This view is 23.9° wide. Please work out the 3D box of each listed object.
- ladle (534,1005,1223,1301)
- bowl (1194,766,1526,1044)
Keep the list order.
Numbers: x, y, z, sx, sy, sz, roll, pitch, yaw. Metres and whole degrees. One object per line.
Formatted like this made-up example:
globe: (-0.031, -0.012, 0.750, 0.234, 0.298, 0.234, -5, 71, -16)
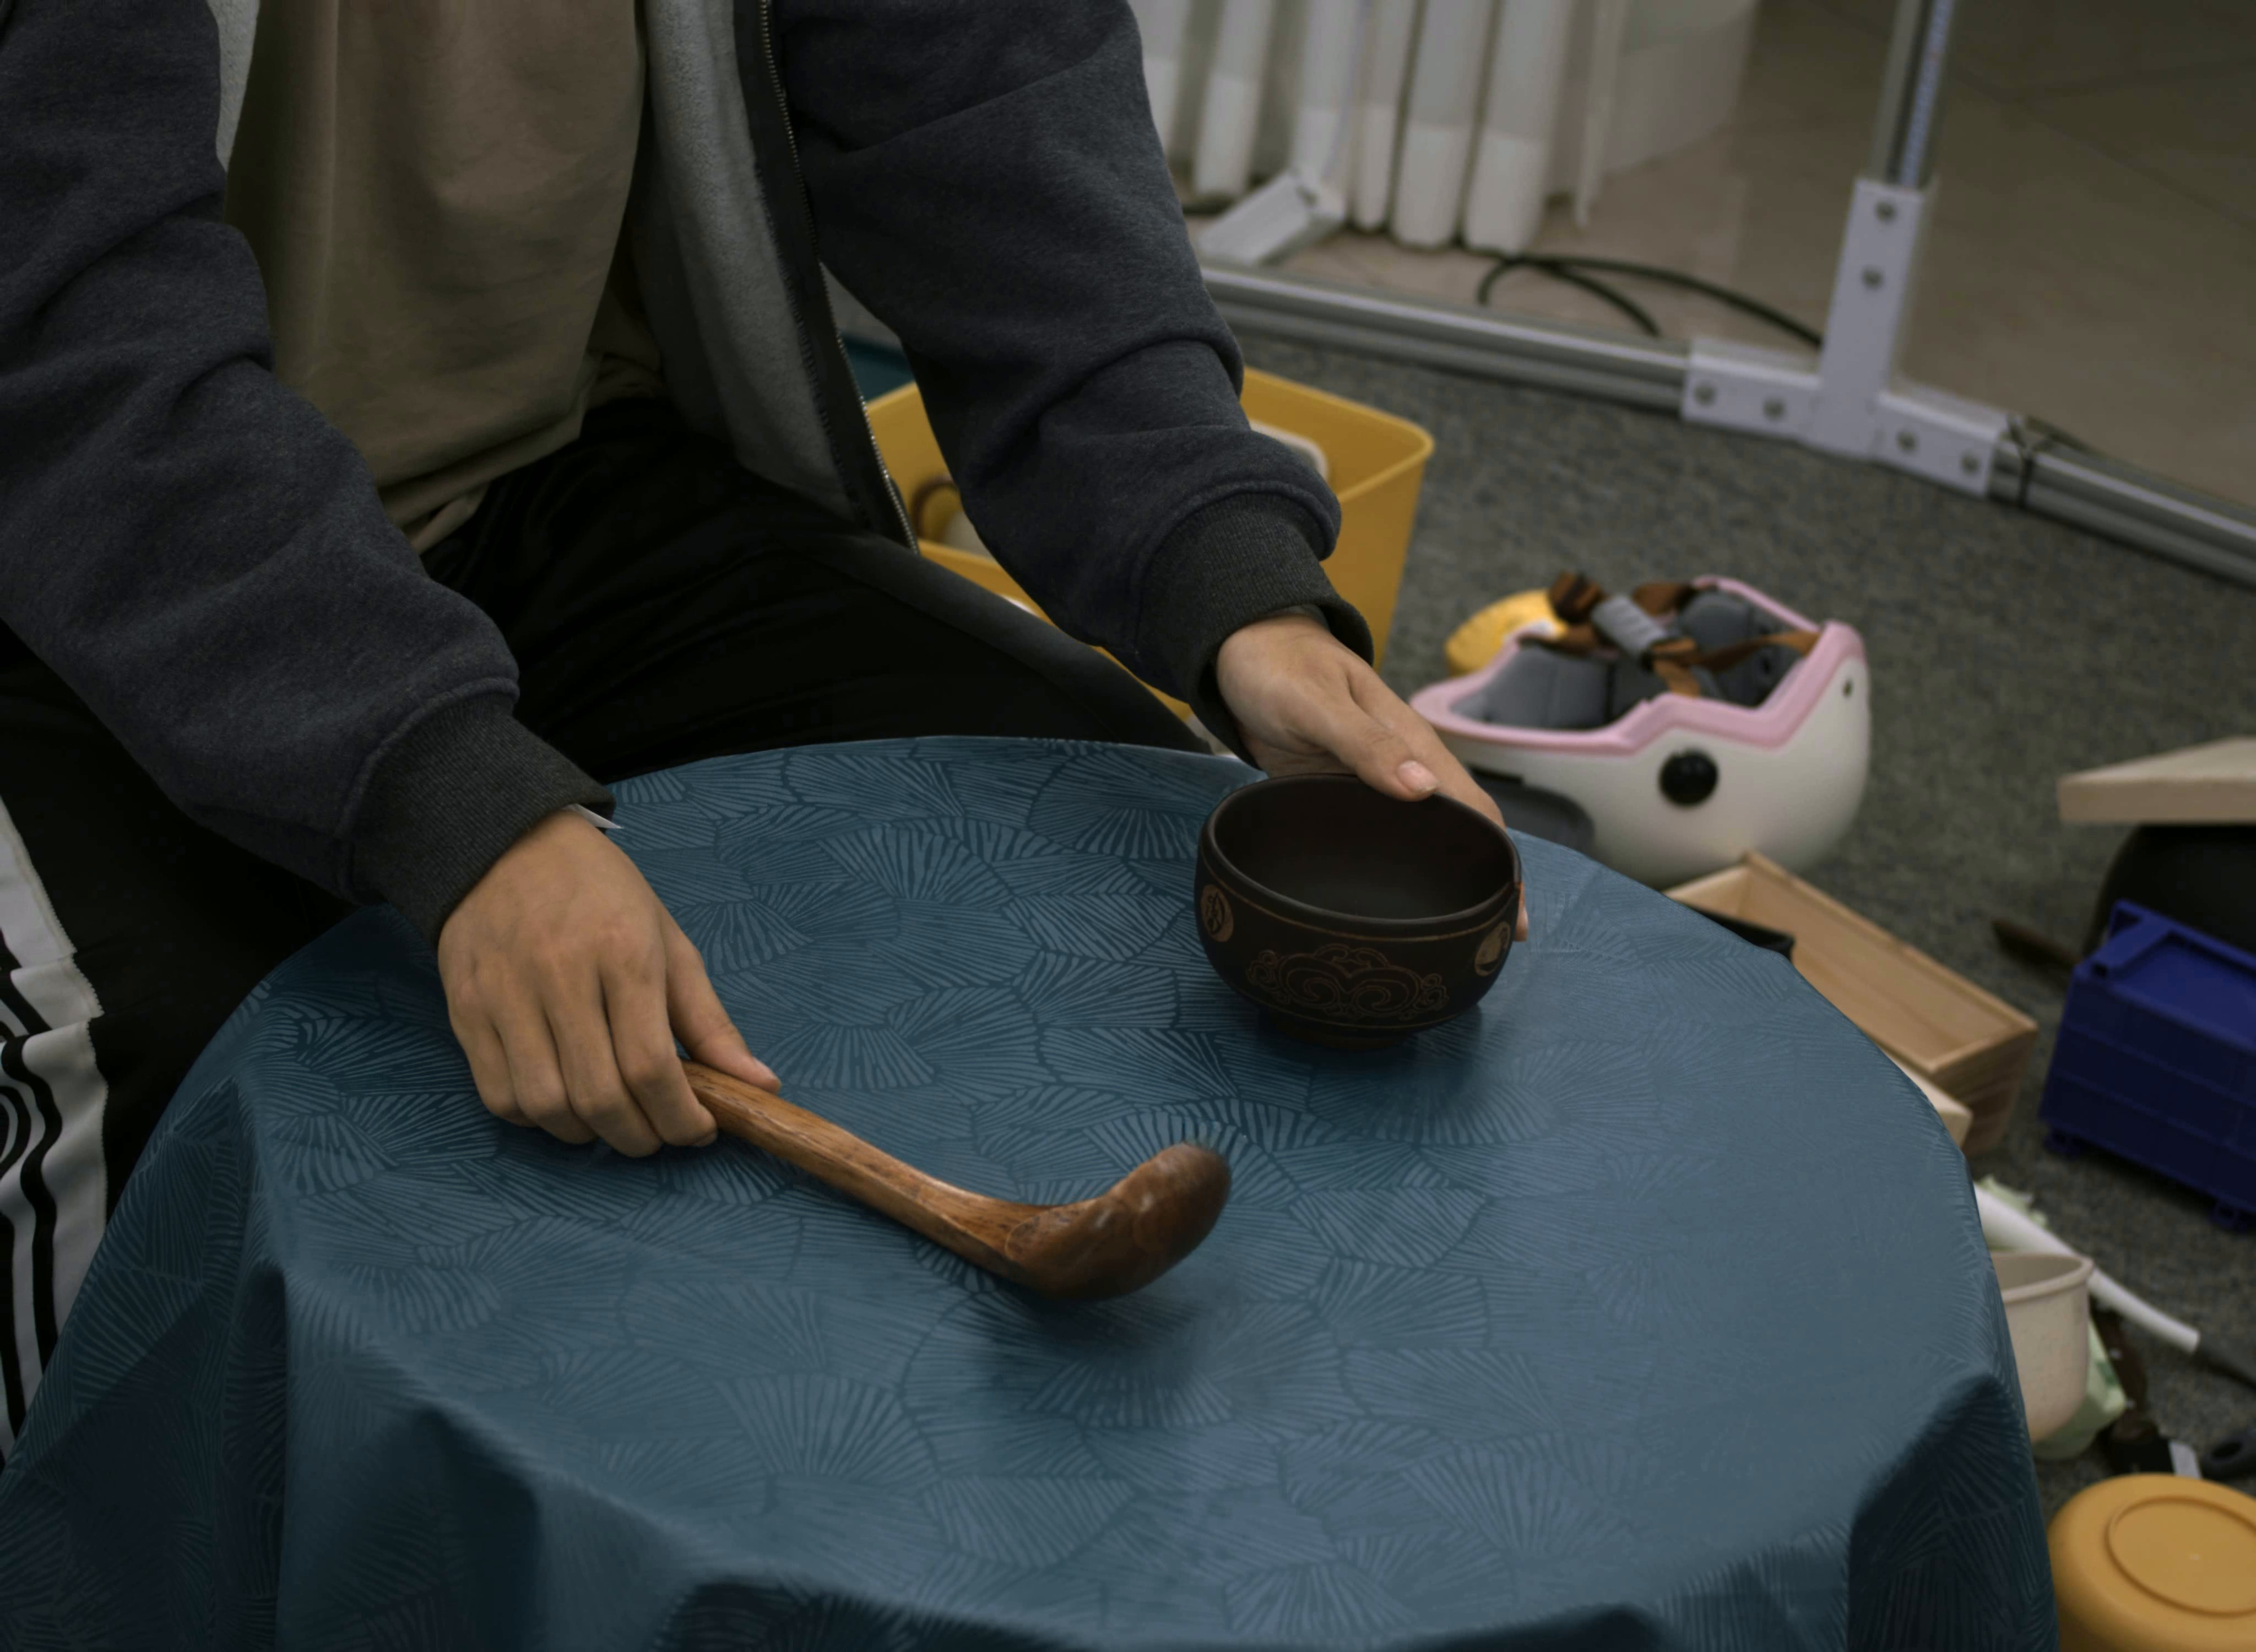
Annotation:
ladle: (-0.090, 0.088, 1.764, 0.276, 0.076, 0.081, 23, 28, 30)
bowl: (0.081, 0.035, 1.912, 0.117, 0.069, 0.119, 5, 27, -3)
